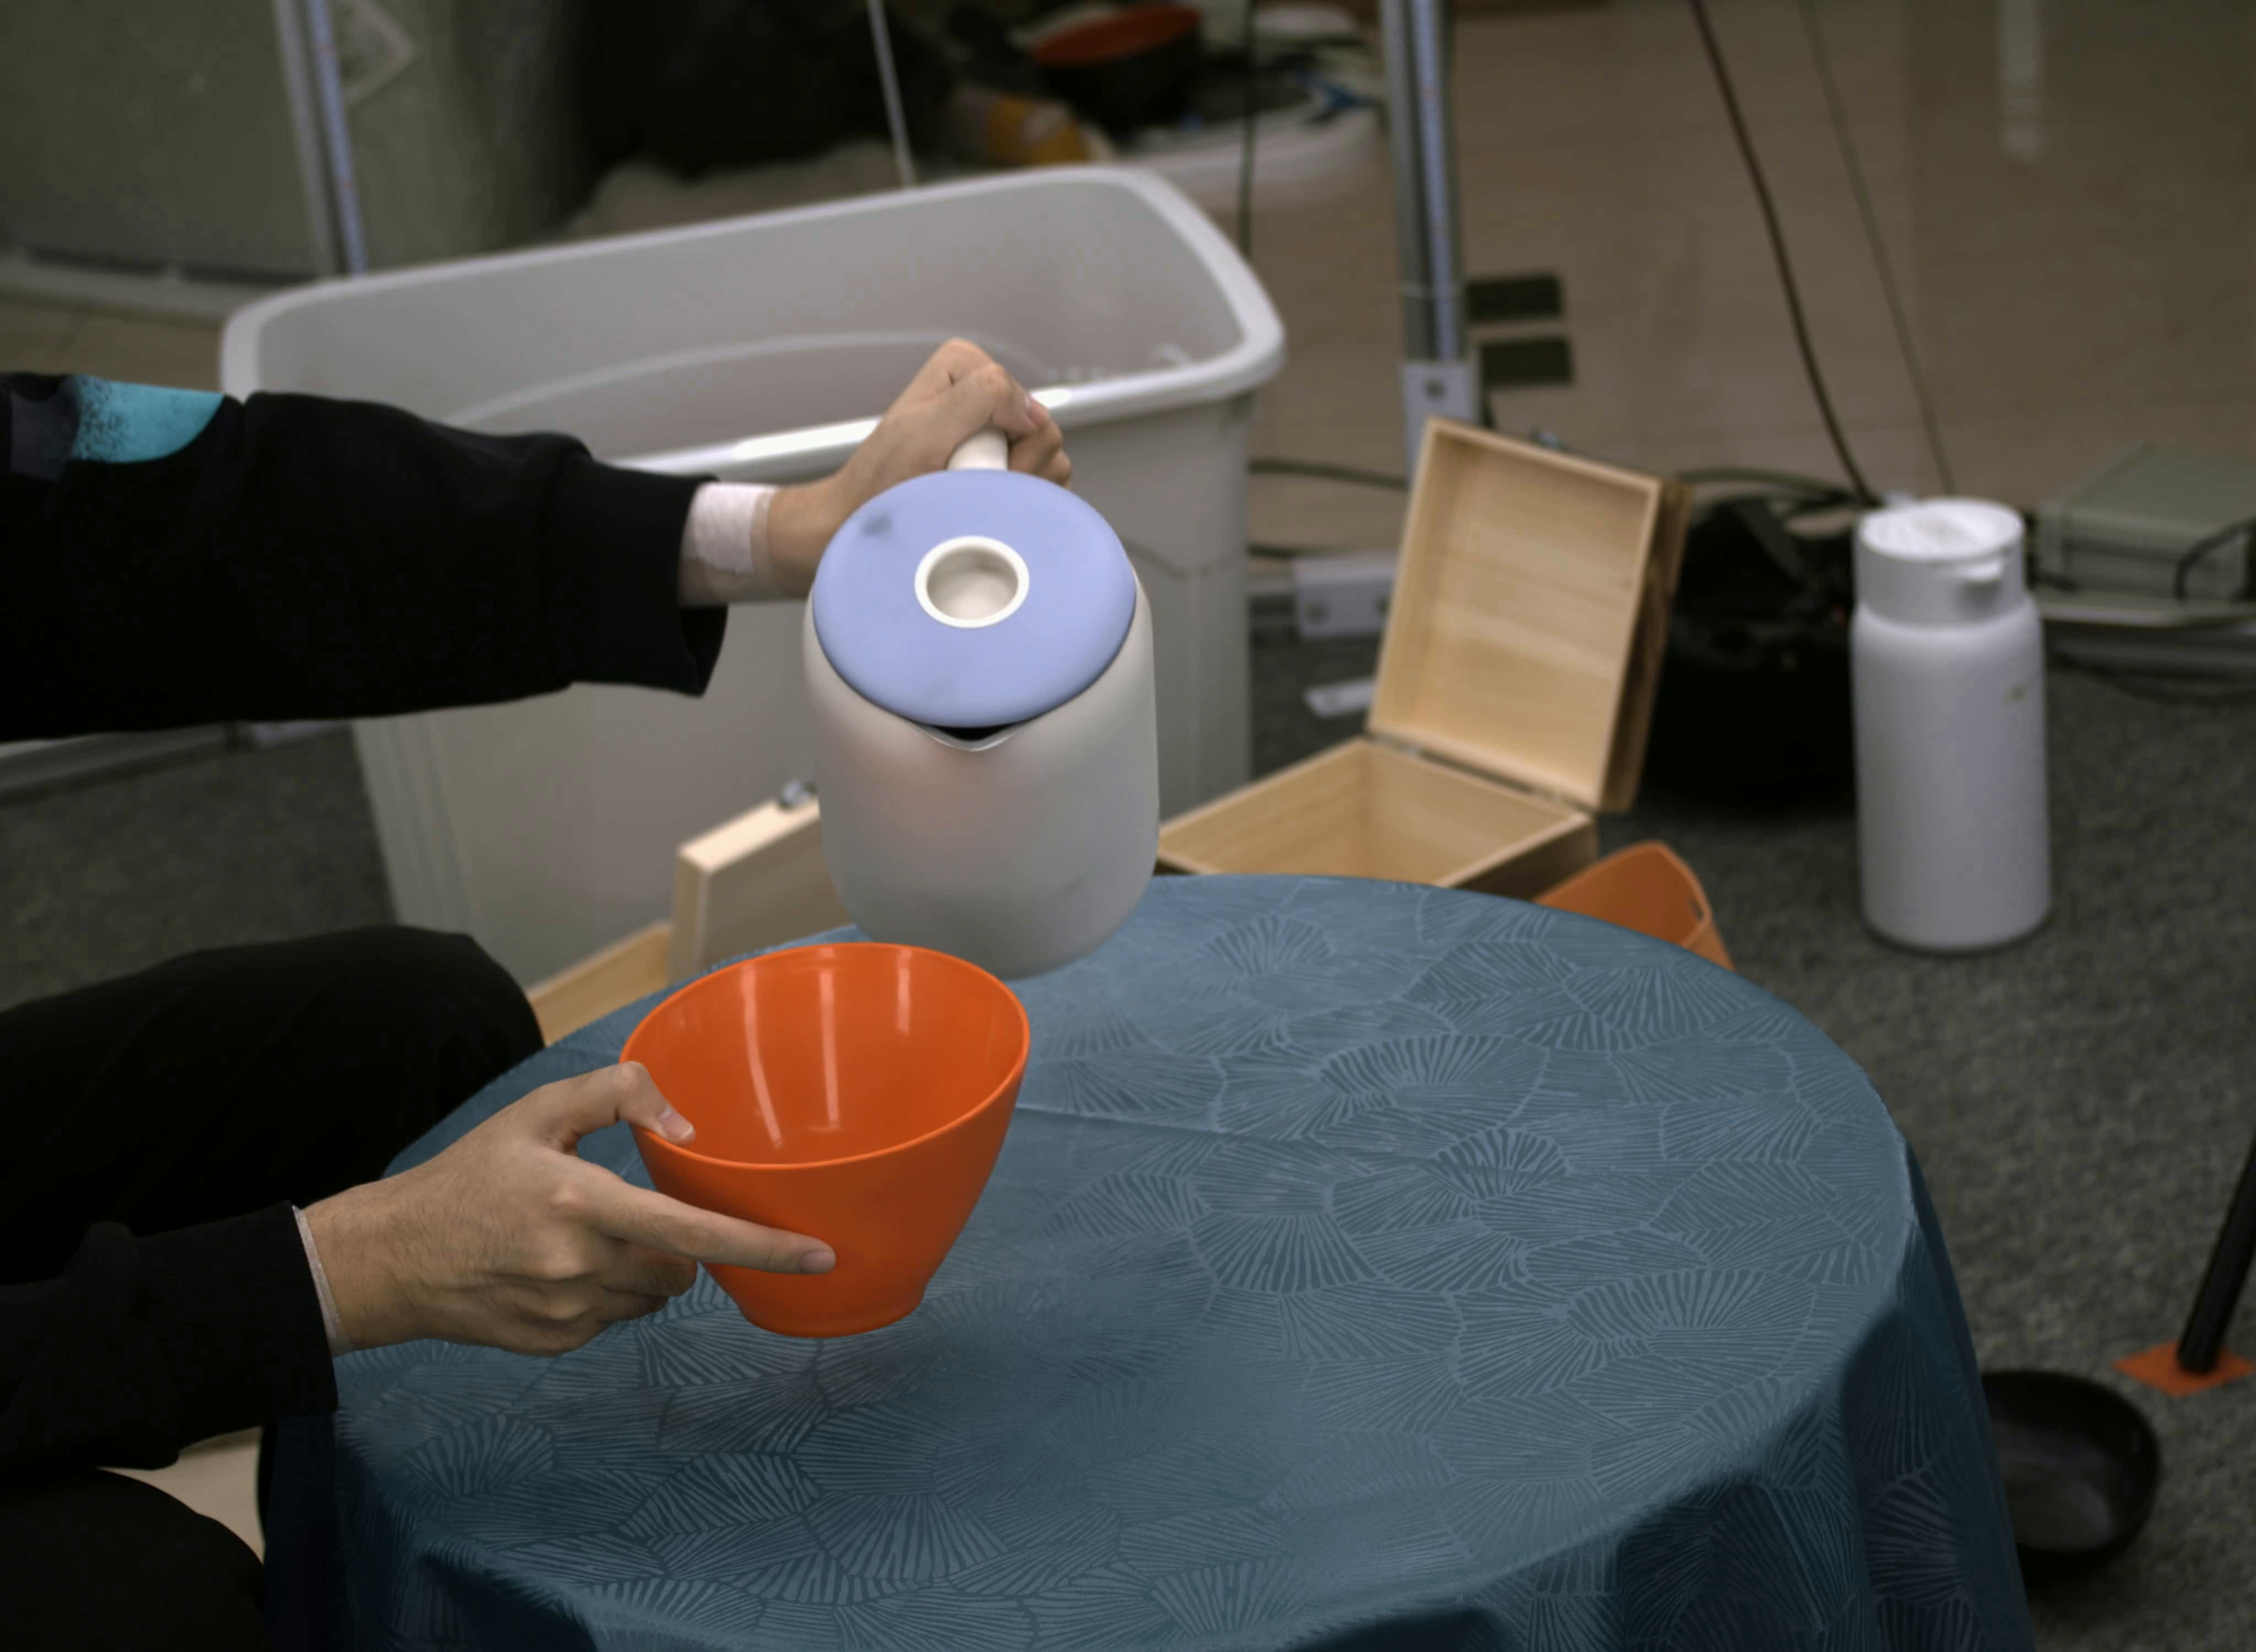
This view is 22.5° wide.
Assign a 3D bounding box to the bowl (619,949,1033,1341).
[{"bbox_3d":[-0.106,0.119,2.023,0.148,0.106,0.146,-2,21,1],"label":"bowl"}]

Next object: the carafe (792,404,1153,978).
[{"bbox_3d":[-0.058,-0.060,2.138,0.132,0.186,0.188,-3,54,-1],"label":"carafe"}]
